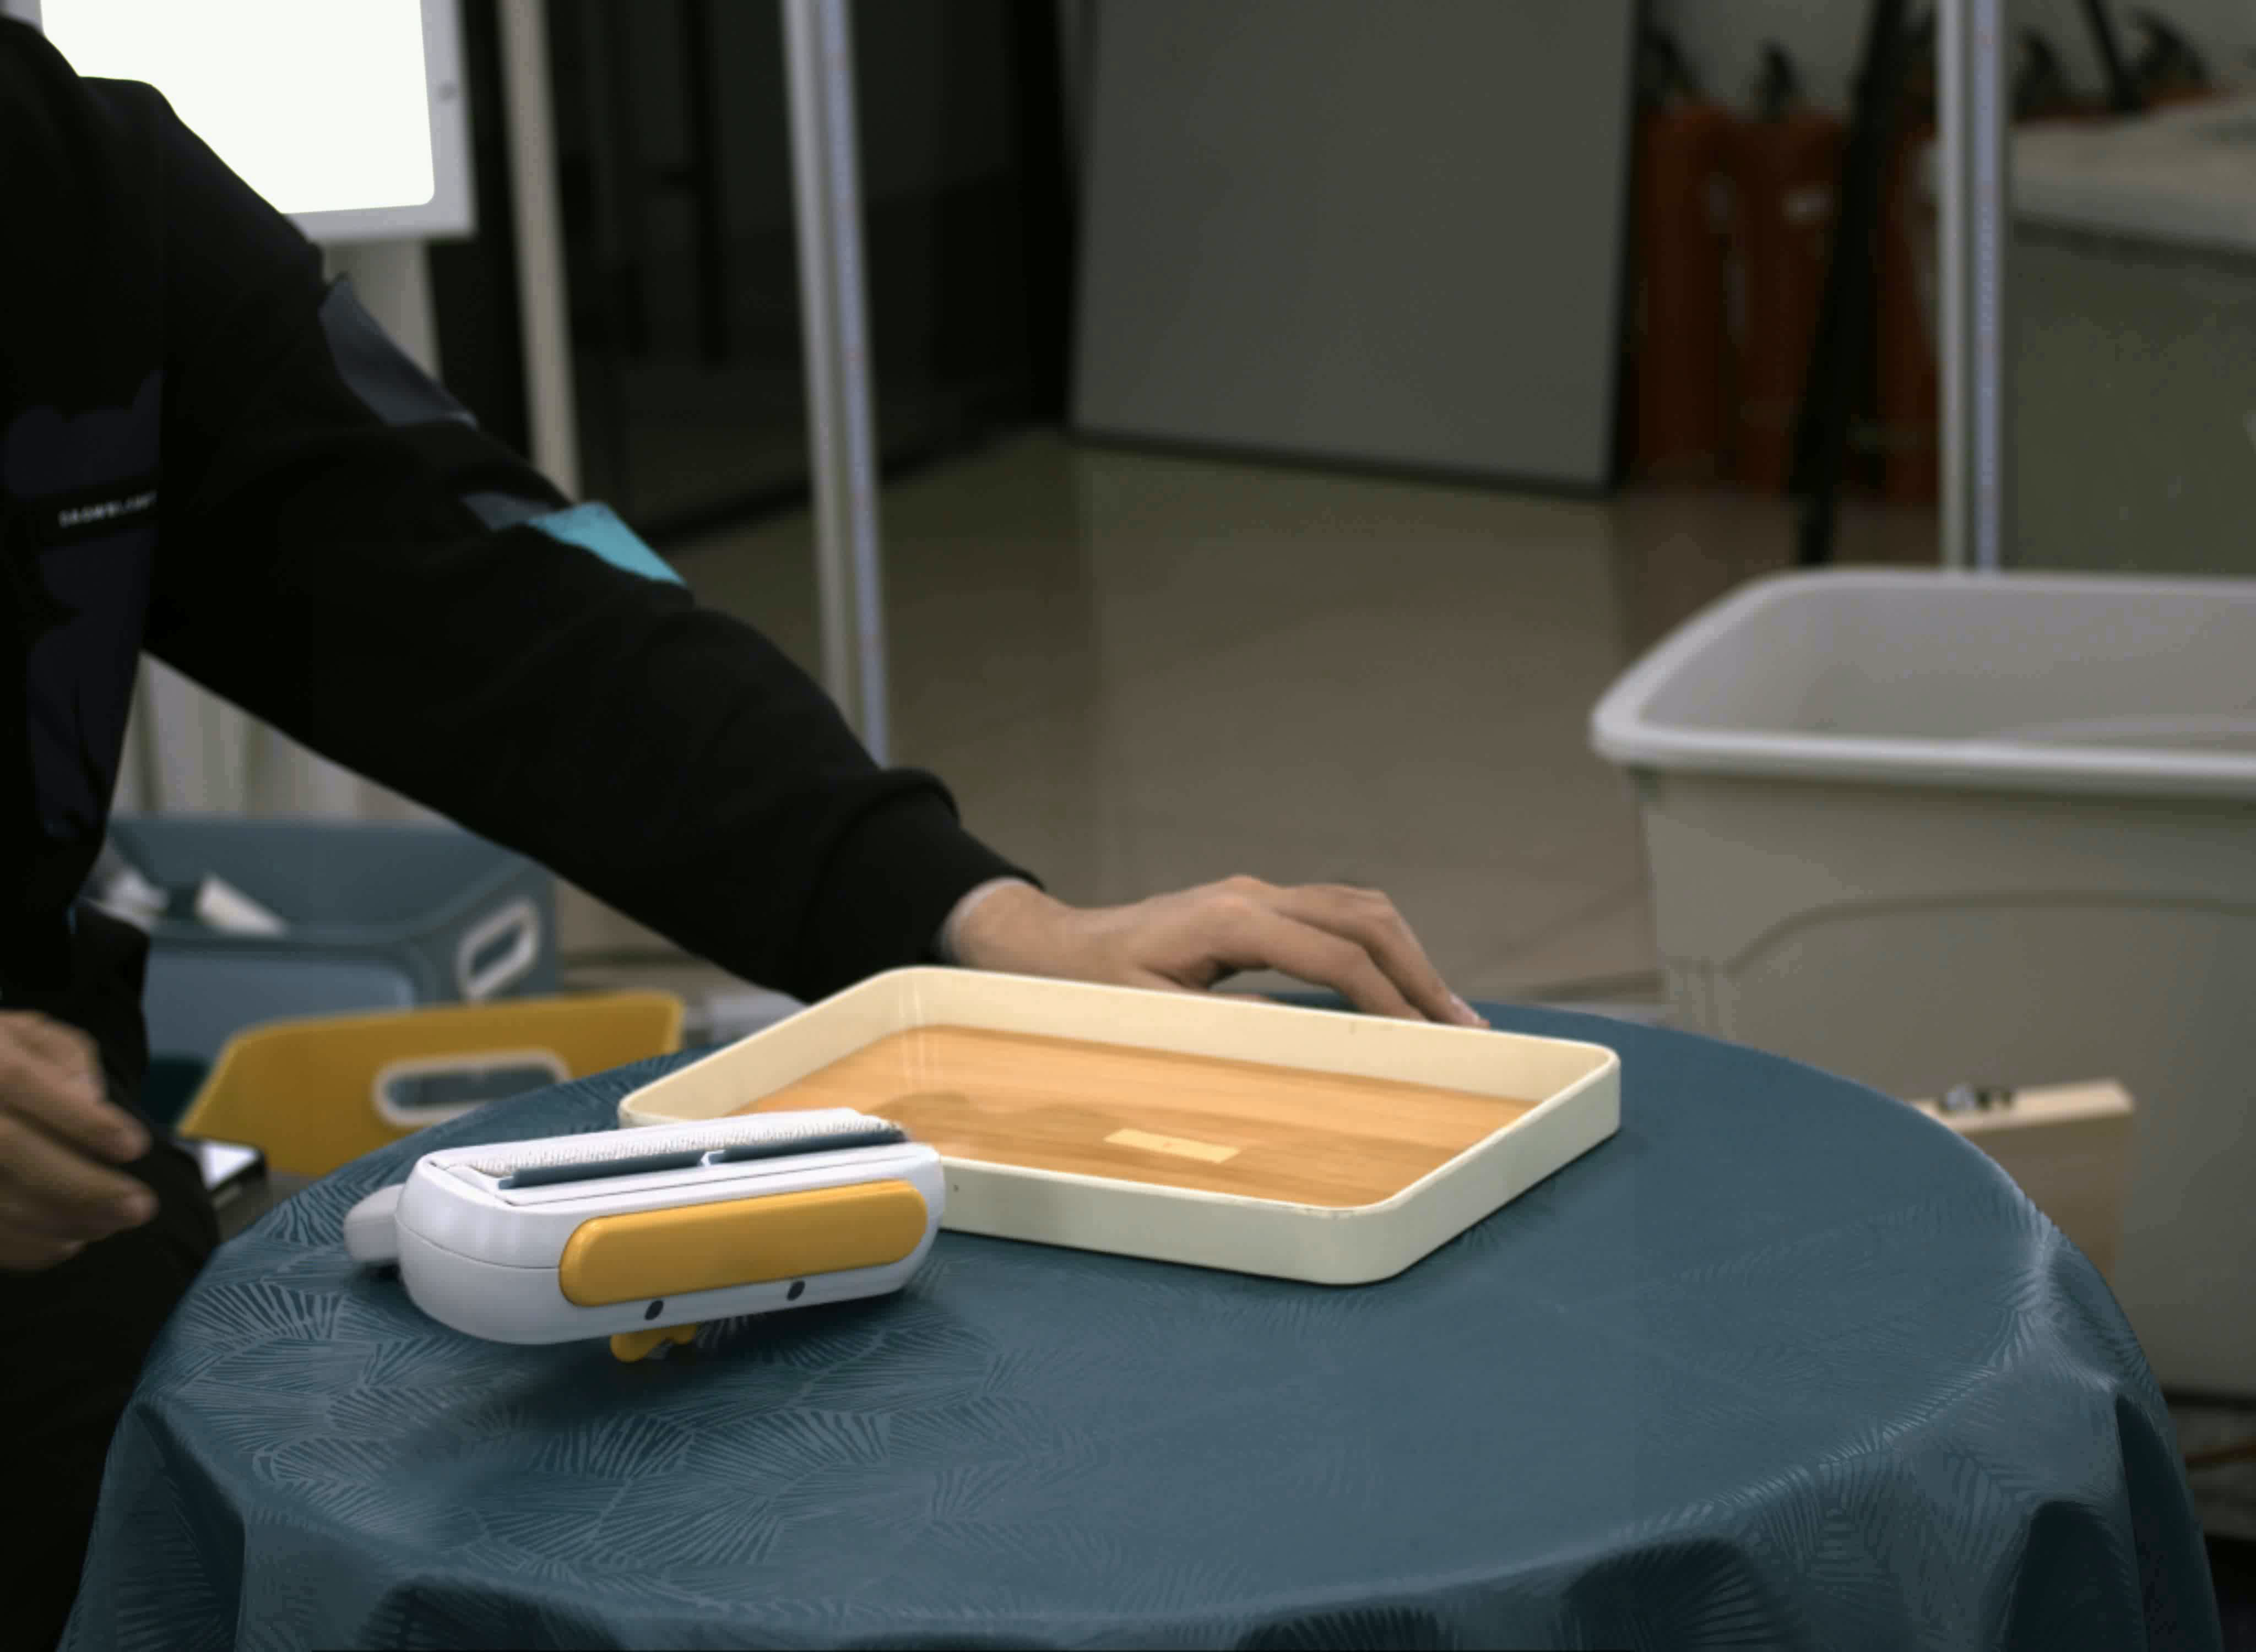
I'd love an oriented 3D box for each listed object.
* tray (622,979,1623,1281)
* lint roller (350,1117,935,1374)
[{"bbox_3d":[-0.002,0.099,1.808,0.302,0.028,0.188,5,16,33],"label":"tray"},{"bbox_3d":[-0.180,0.122,1.681,0.188,0.075,0.194,-9,12,-40],"label":"lint roller"}]
